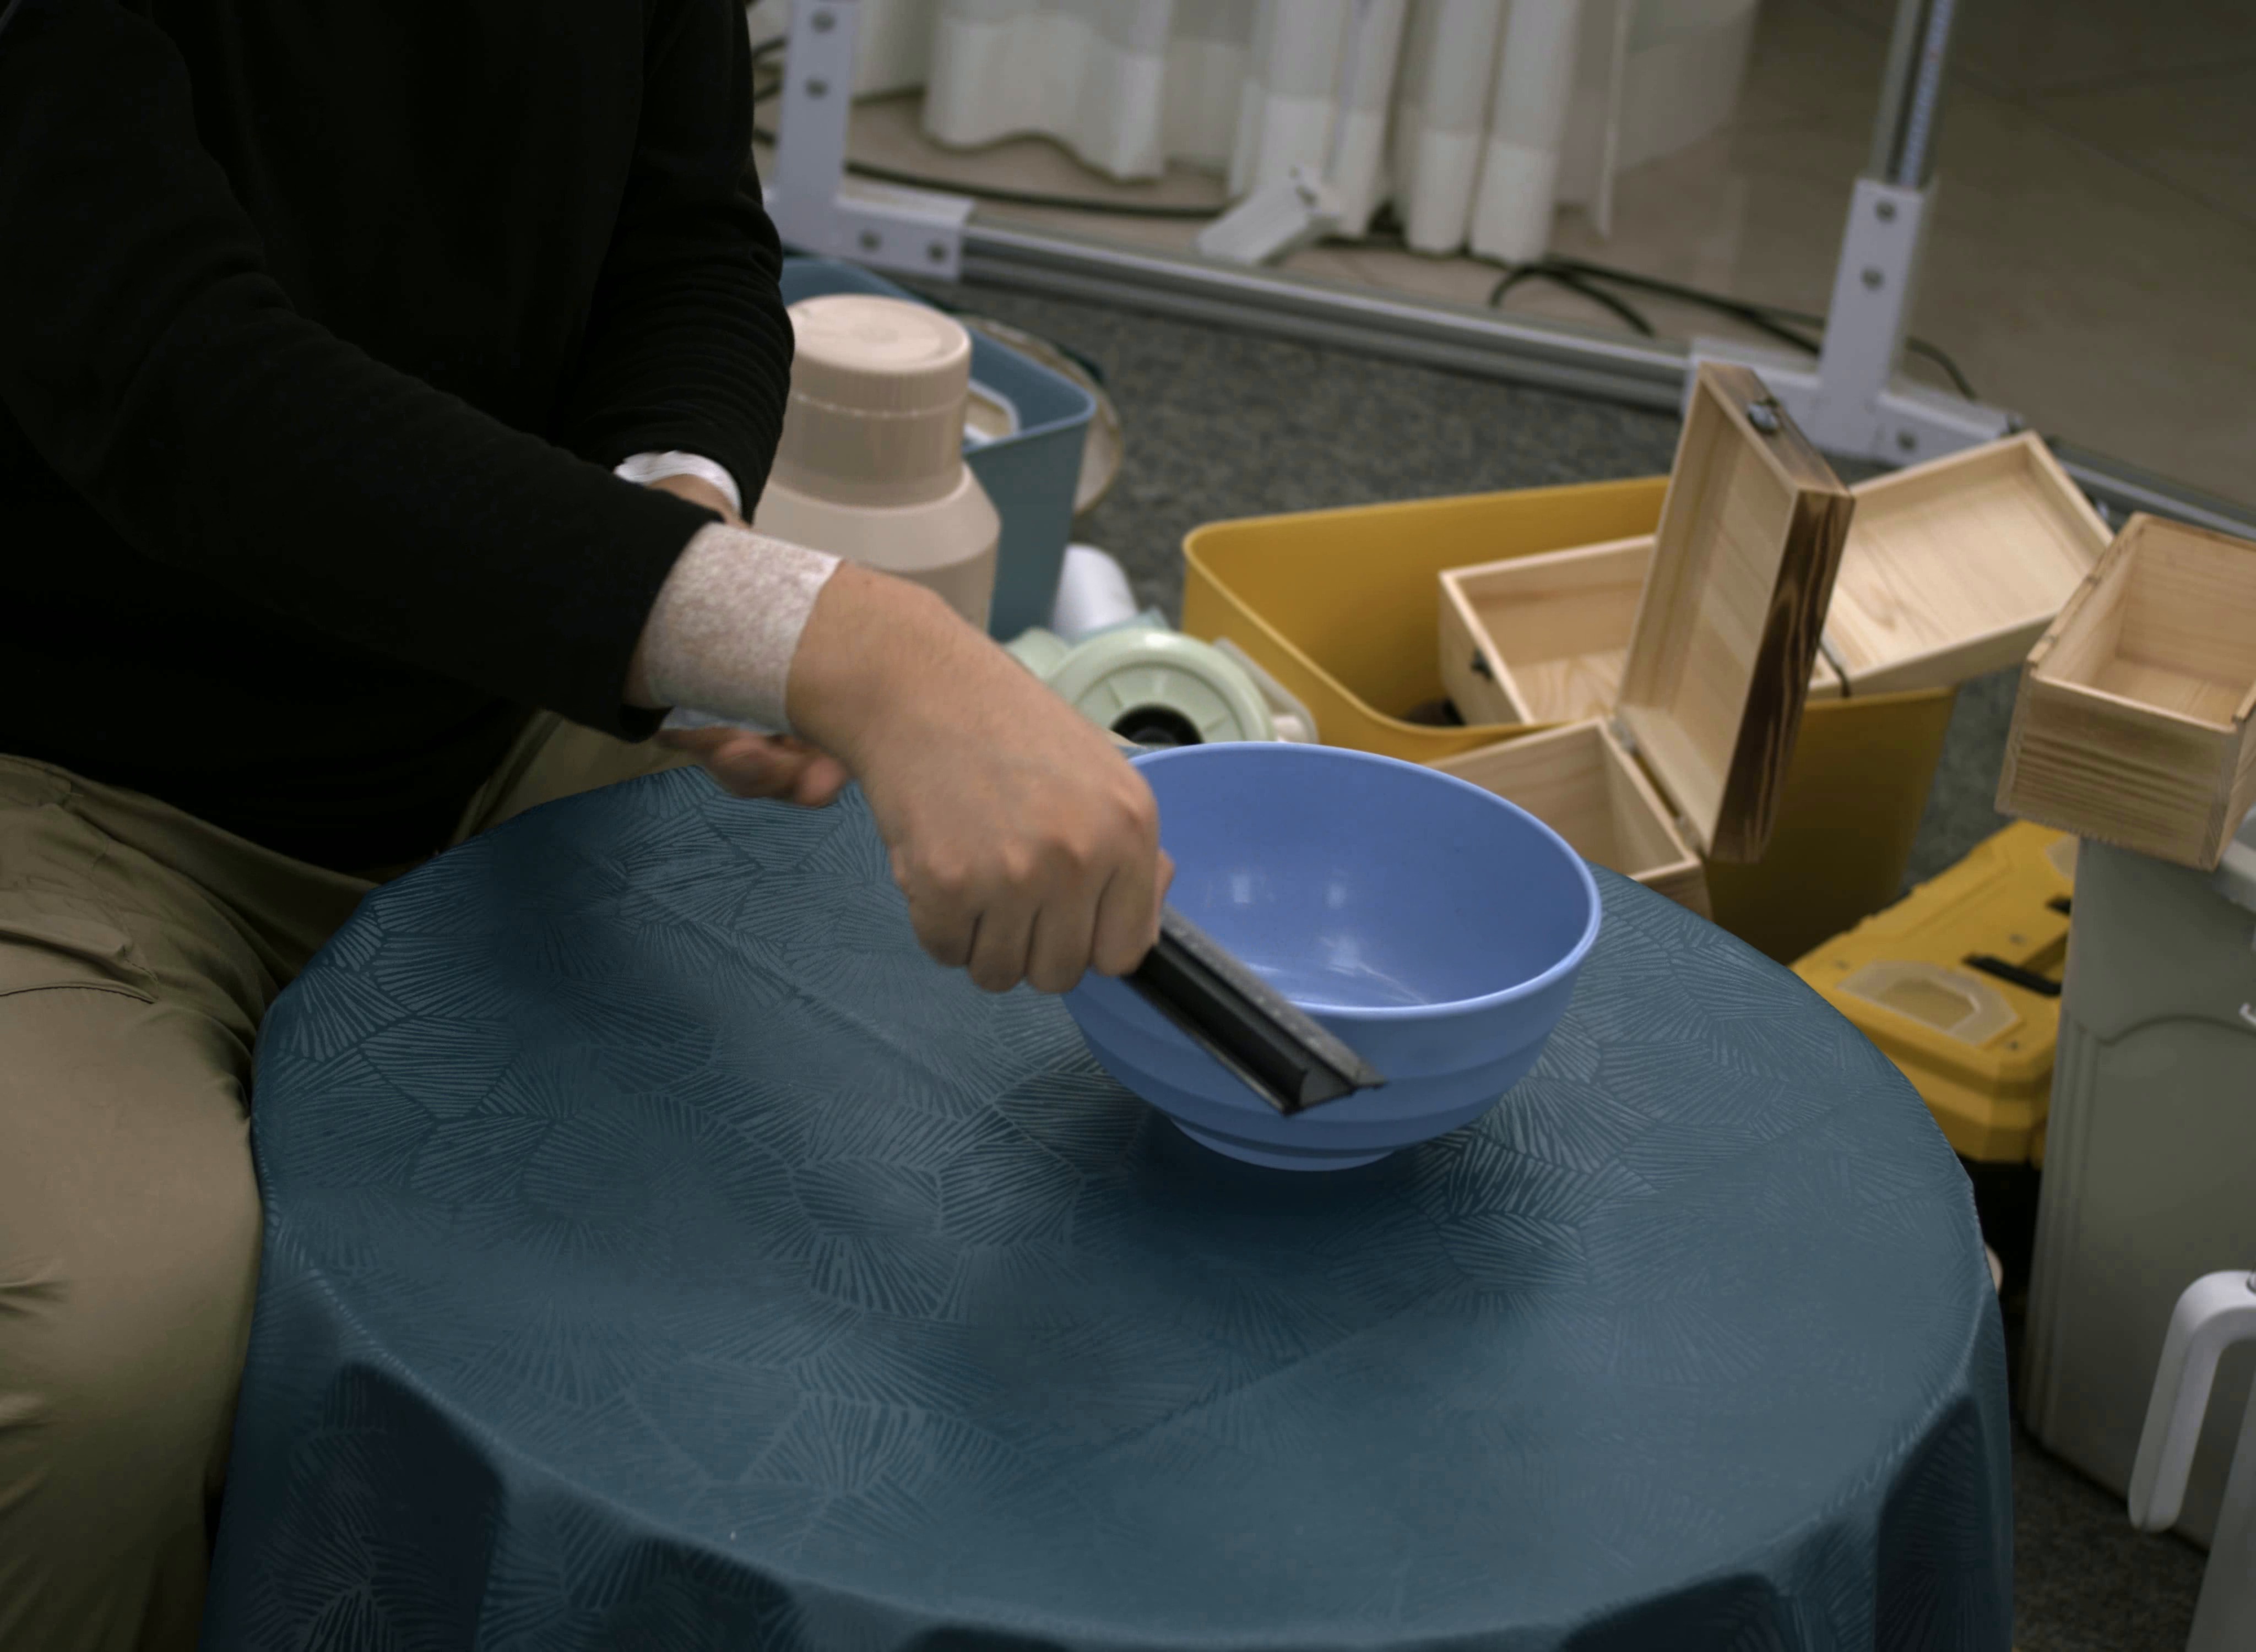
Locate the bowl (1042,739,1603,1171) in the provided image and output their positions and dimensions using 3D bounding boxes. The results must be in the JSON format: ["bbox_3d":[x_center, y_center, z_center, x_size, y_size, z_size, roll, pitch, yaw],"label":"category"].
[{"bbox_3d":[0.060,0.056,1.843,0.196,0.095,0.198,6,27,-3],"label":"bowl"}]

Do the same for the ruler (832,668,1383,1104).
[{"bbox_3d":[-0.011,0.011,1.730,0.039,0.017,0.315,-11,29,-27],"label":"ruler"}]
